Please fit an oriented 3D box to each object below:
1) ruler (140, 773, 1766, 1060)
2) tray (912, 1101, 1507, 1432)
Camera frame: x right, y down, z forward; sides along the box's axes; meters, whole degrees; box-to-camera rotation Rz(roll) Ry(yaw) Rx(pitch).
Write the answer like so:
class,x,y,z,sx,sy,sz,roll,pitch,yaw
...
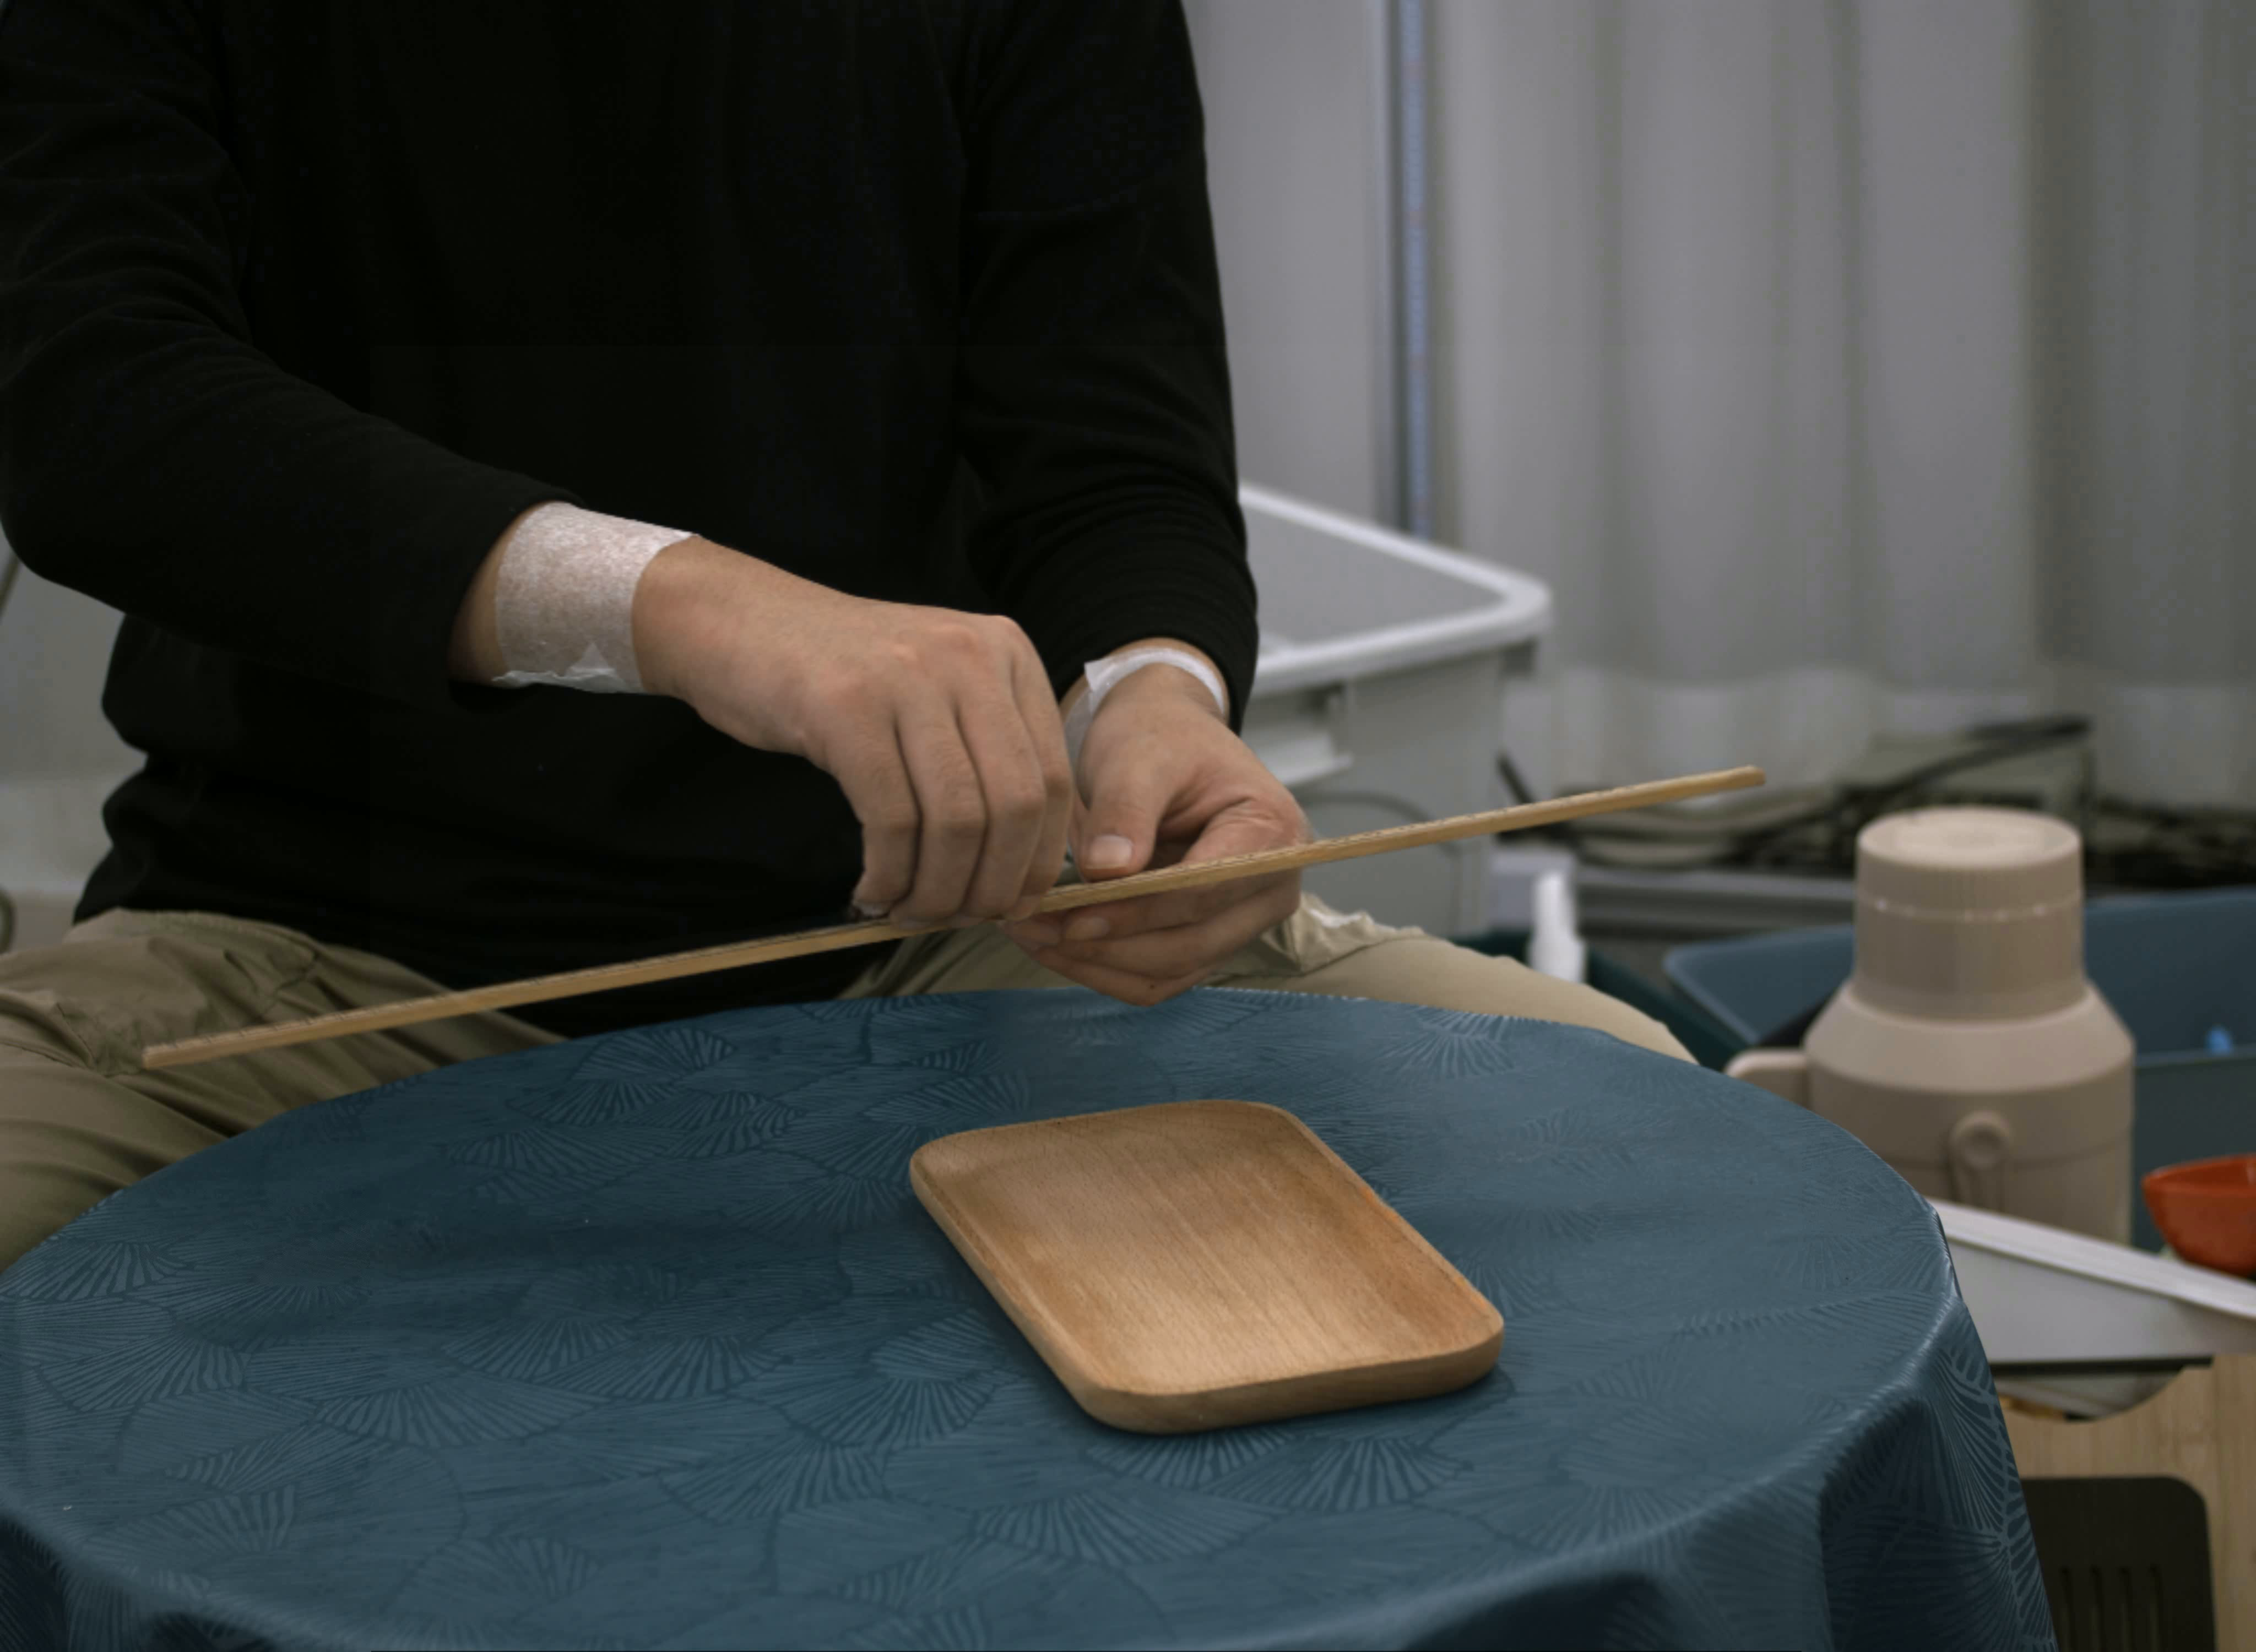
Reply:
class,x,y,z,sx,sy,sz,roll,pitch,yaw
ruler,-0.052,0.027,1.665,0.499,0.006,0.027,-10,1,-3
tray,0.020,0.128,1.628,0.130,0.023,0.252,-4,14,-14
